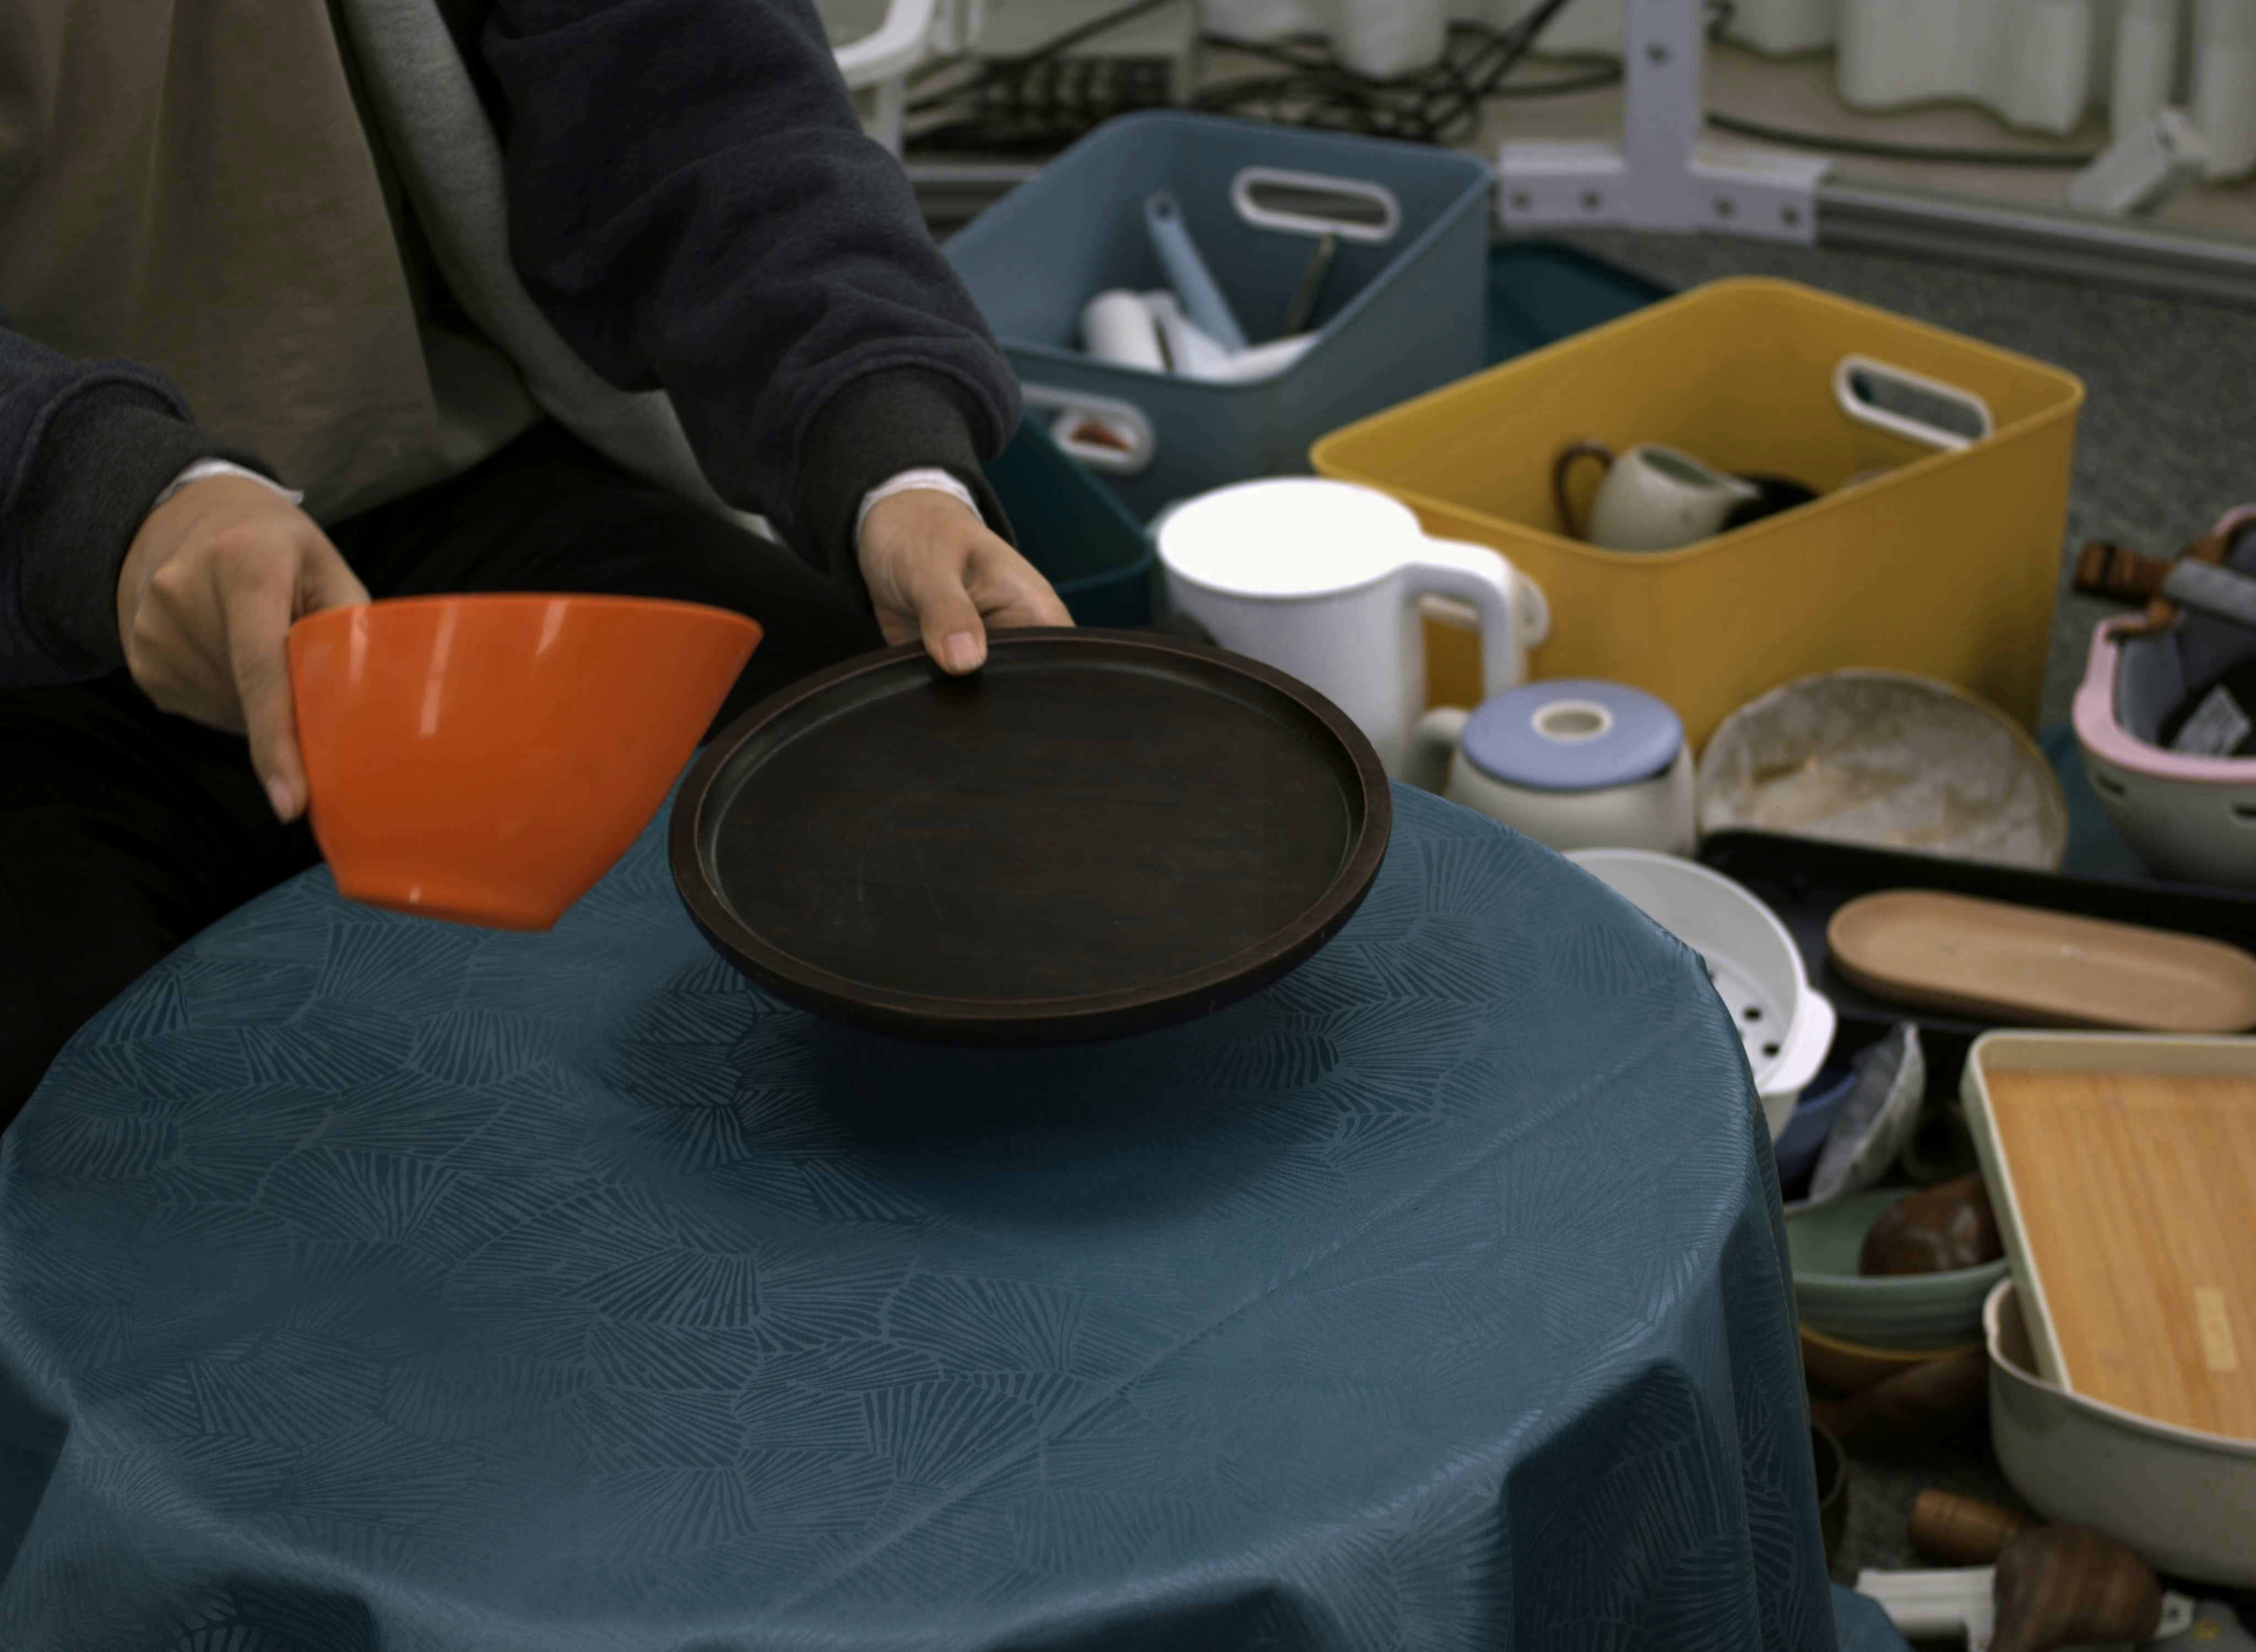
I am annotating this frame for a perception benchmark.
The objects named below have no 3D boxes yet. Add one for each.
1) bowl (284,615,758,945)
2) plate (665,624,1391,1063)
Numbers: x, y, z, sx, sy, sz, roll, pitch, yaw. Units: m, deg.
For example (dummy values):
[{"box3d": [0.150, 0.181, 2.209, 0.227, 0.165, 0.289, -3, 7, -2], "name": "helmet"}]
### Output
[{"box3d": [-0.197, -0.017, 1.765, 0.147, 0.105, 0.147, 9, -4, 1], "name": "bowl"}, {"box3d": [-0.034, 0.005, 1.953, 0.253, 0.028, 0.259, -2, 33, 2], "name": "plate"}]
